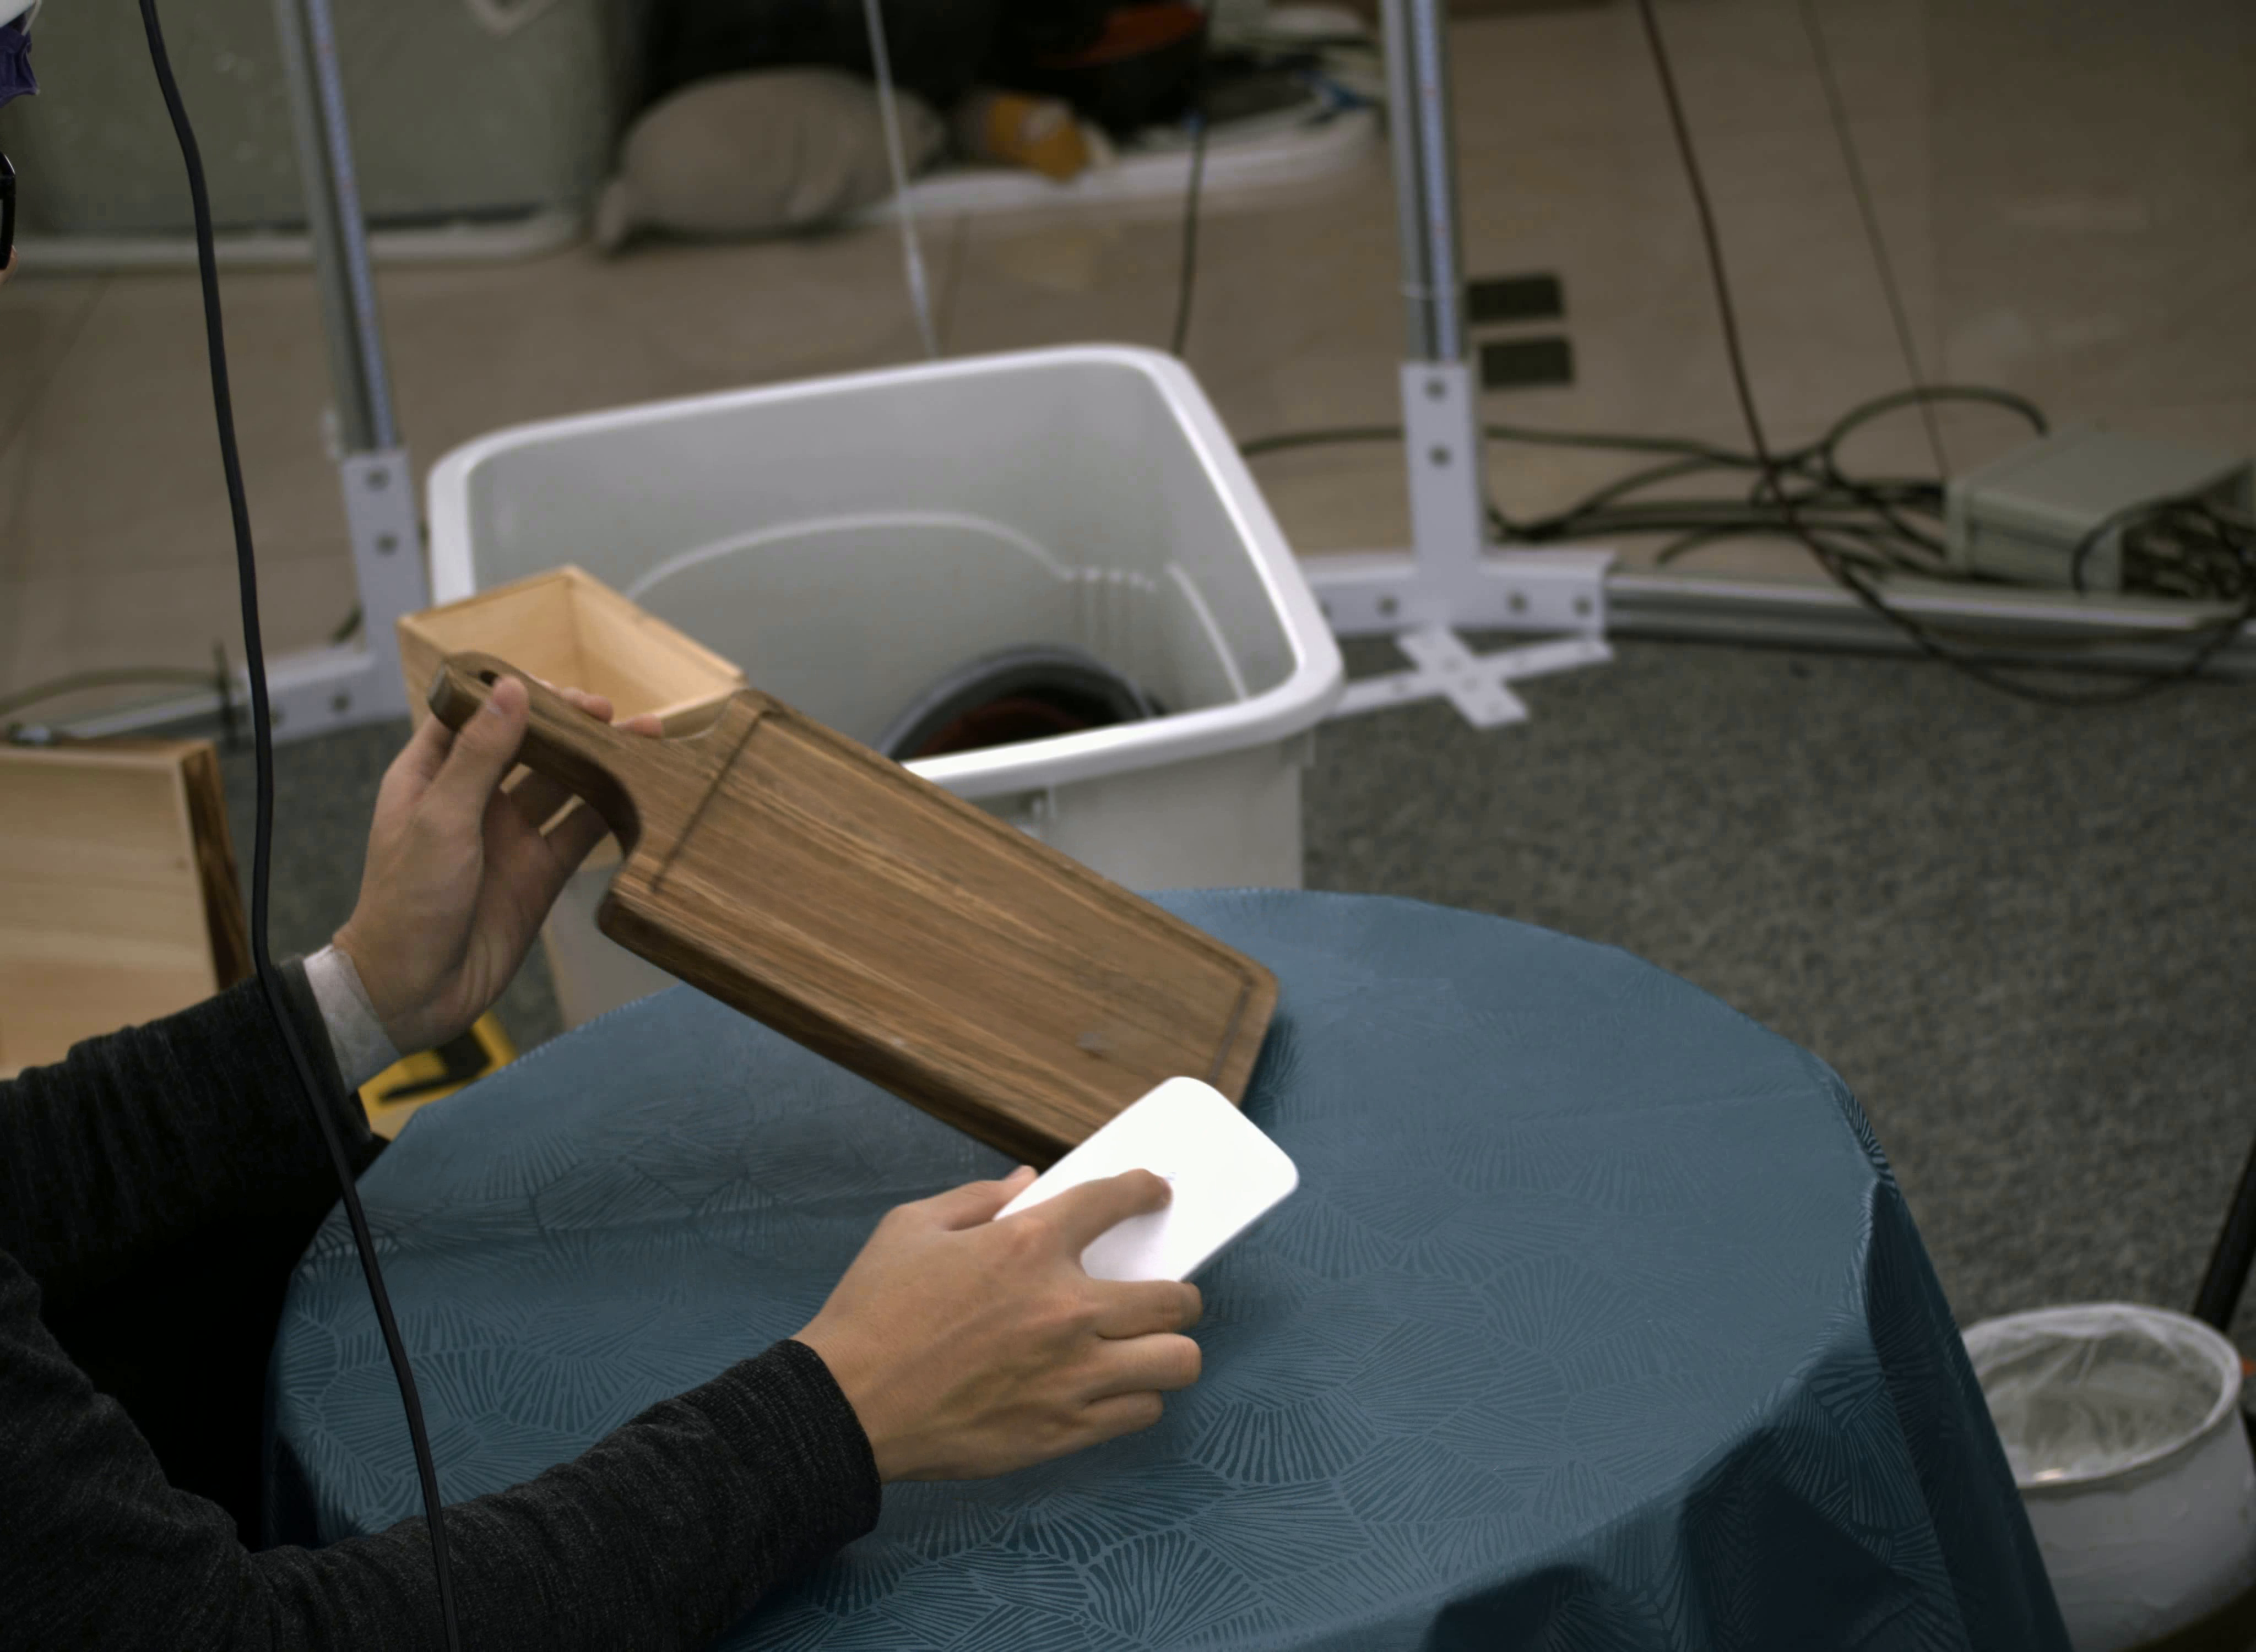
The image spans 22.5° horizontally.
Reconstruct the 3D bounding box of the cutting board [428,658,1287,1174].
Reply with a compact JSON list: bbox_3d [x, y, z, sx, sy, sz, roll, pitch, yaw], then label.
[{"bbox_3d":[-0.107,0.026,2.174,0.352,0.023,0.198,28,28,-4],"label":"cutting board"}]

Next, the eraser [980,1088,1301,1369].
[{"bbox_3d":[0.004,0.140,2.017,0.063,0.035,0.130,43,45,14],"label":"eraser"}]
